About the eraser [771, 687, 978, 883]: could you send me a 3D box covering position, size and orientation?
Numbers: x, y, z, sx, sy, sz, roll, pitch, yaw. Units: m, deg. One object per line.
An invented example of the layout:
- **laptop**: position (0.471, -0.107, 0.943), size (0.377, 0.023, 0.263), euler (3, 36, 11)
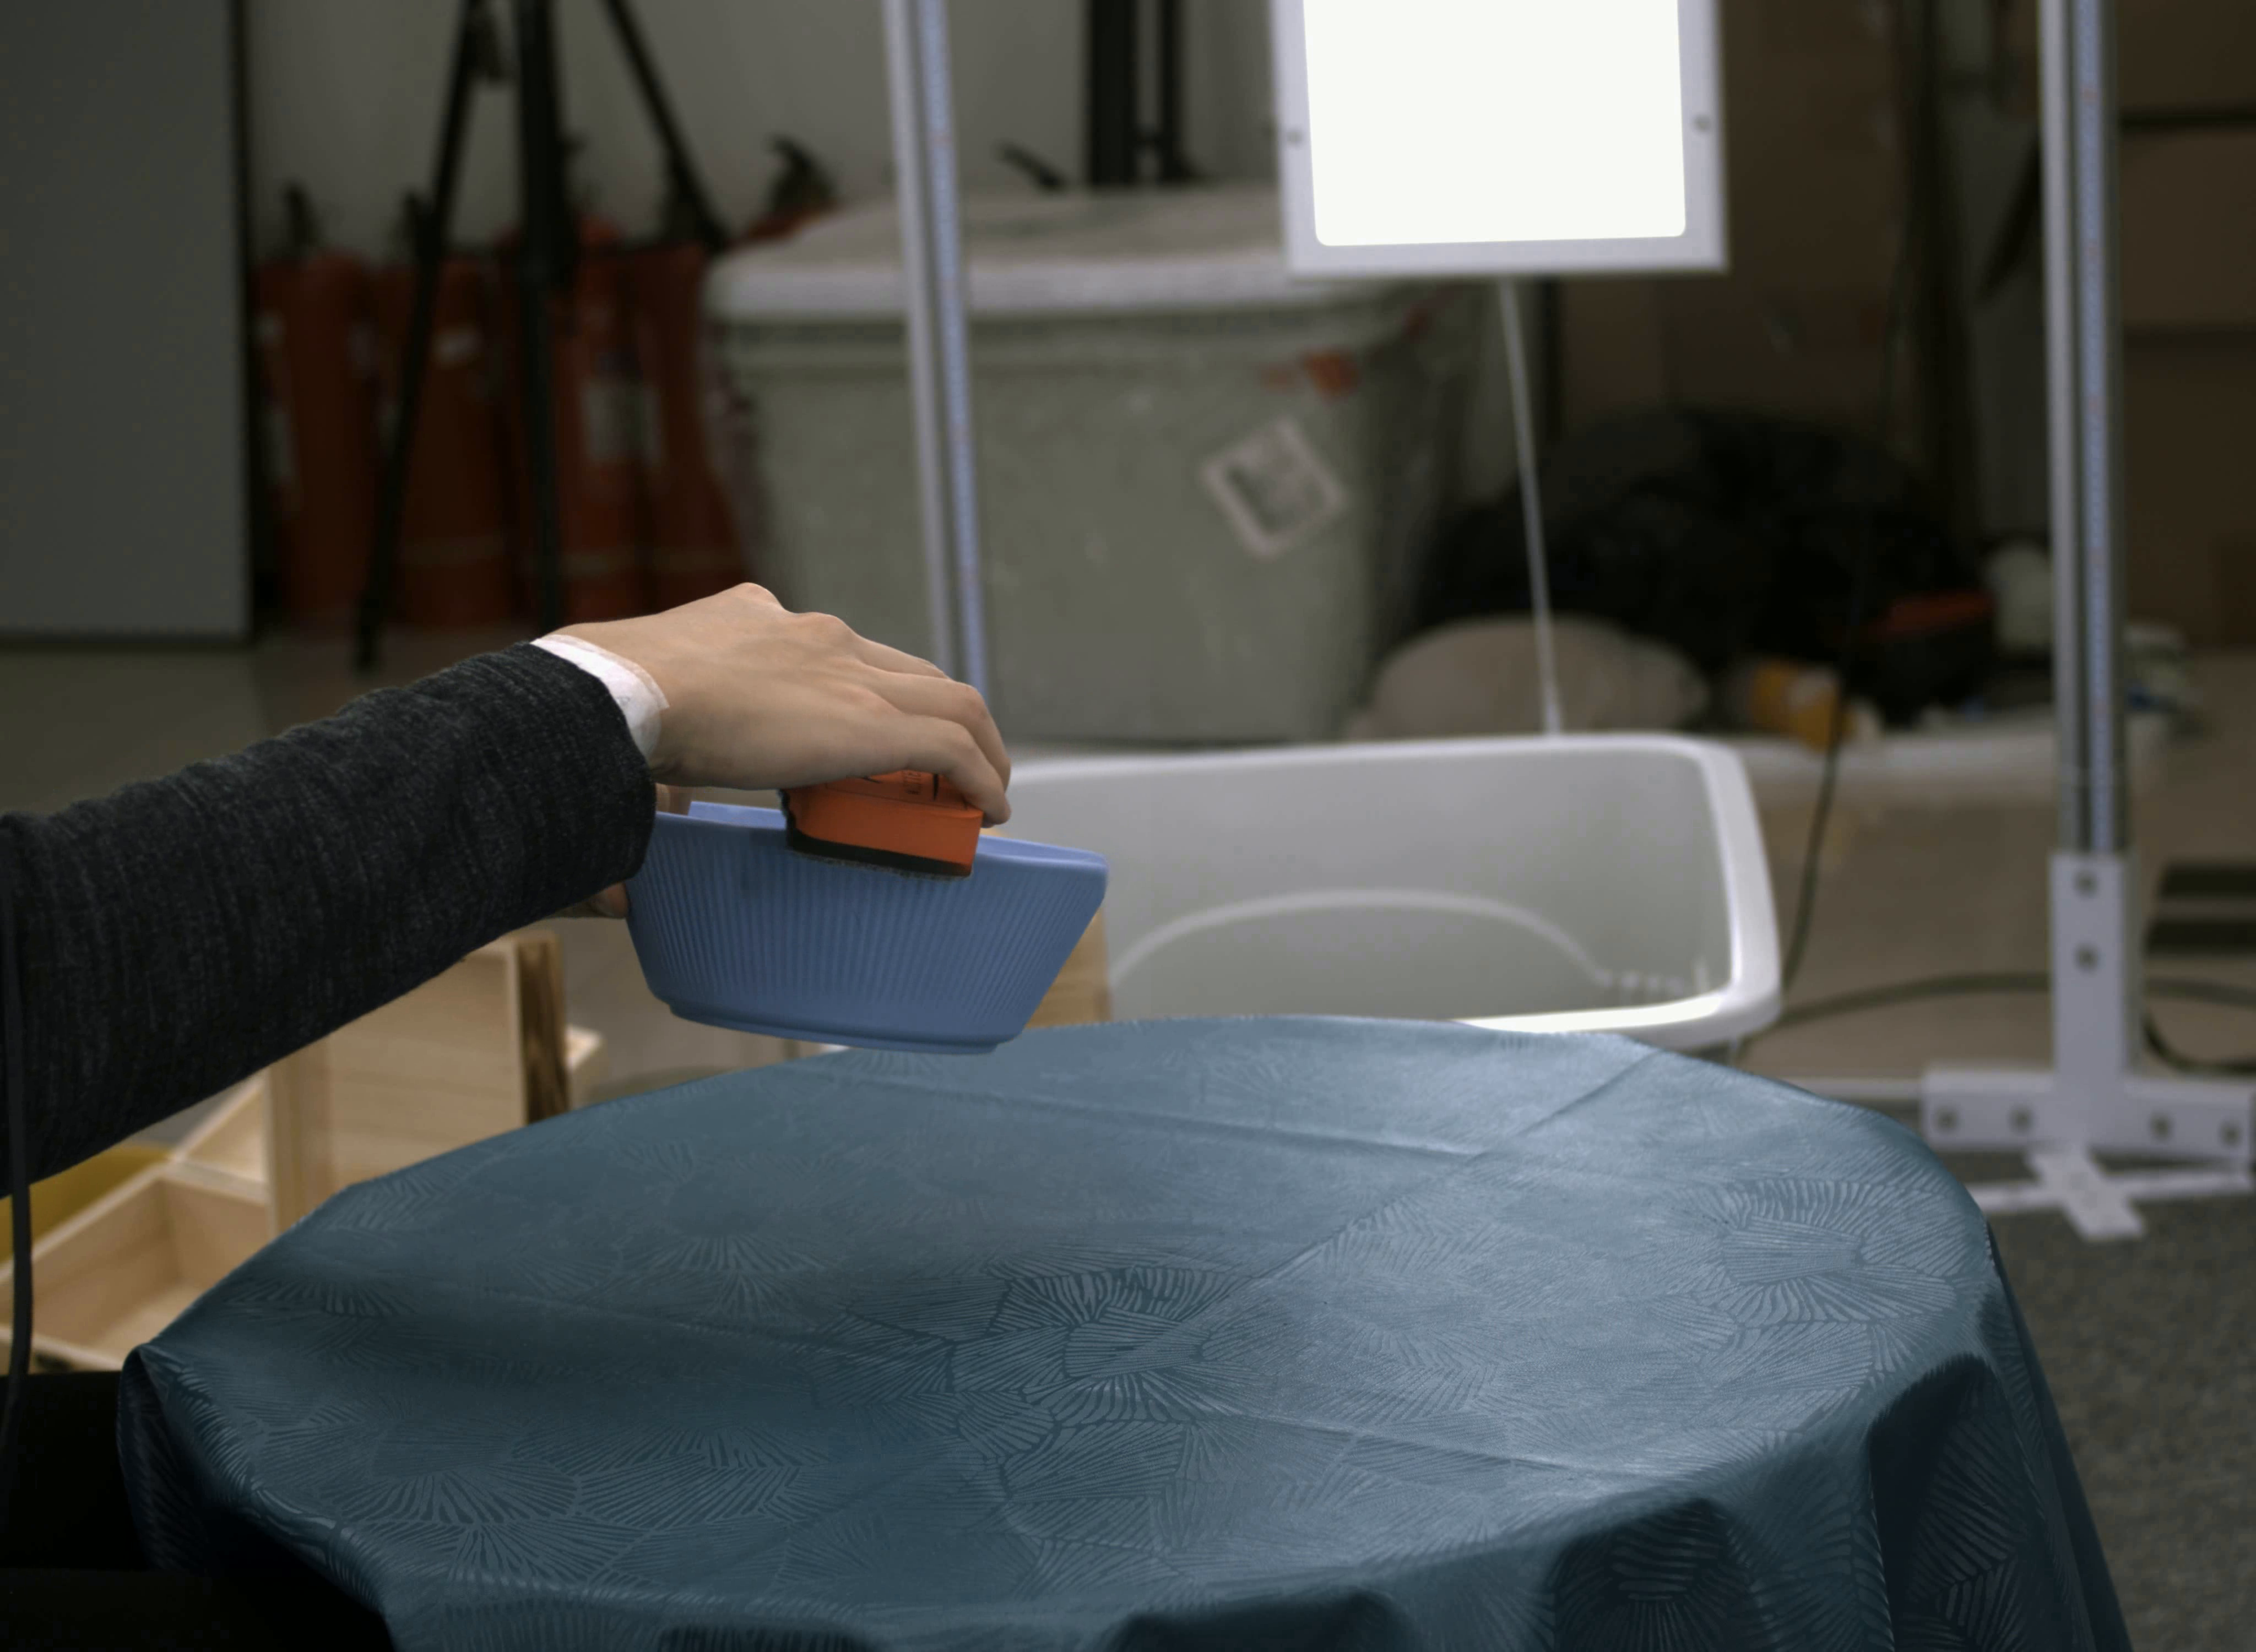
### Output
- **eraser**: position (-0.080, -0.014, 1.732), size (0.058, 0.023, 0.108), euler (9, 19, -10)

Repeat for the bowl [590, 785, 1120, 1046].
- **bowl**: position (-0.094, 0.031, 1.806), size (0.175, 0.070, 0.176), euler (8, 0, -1)
